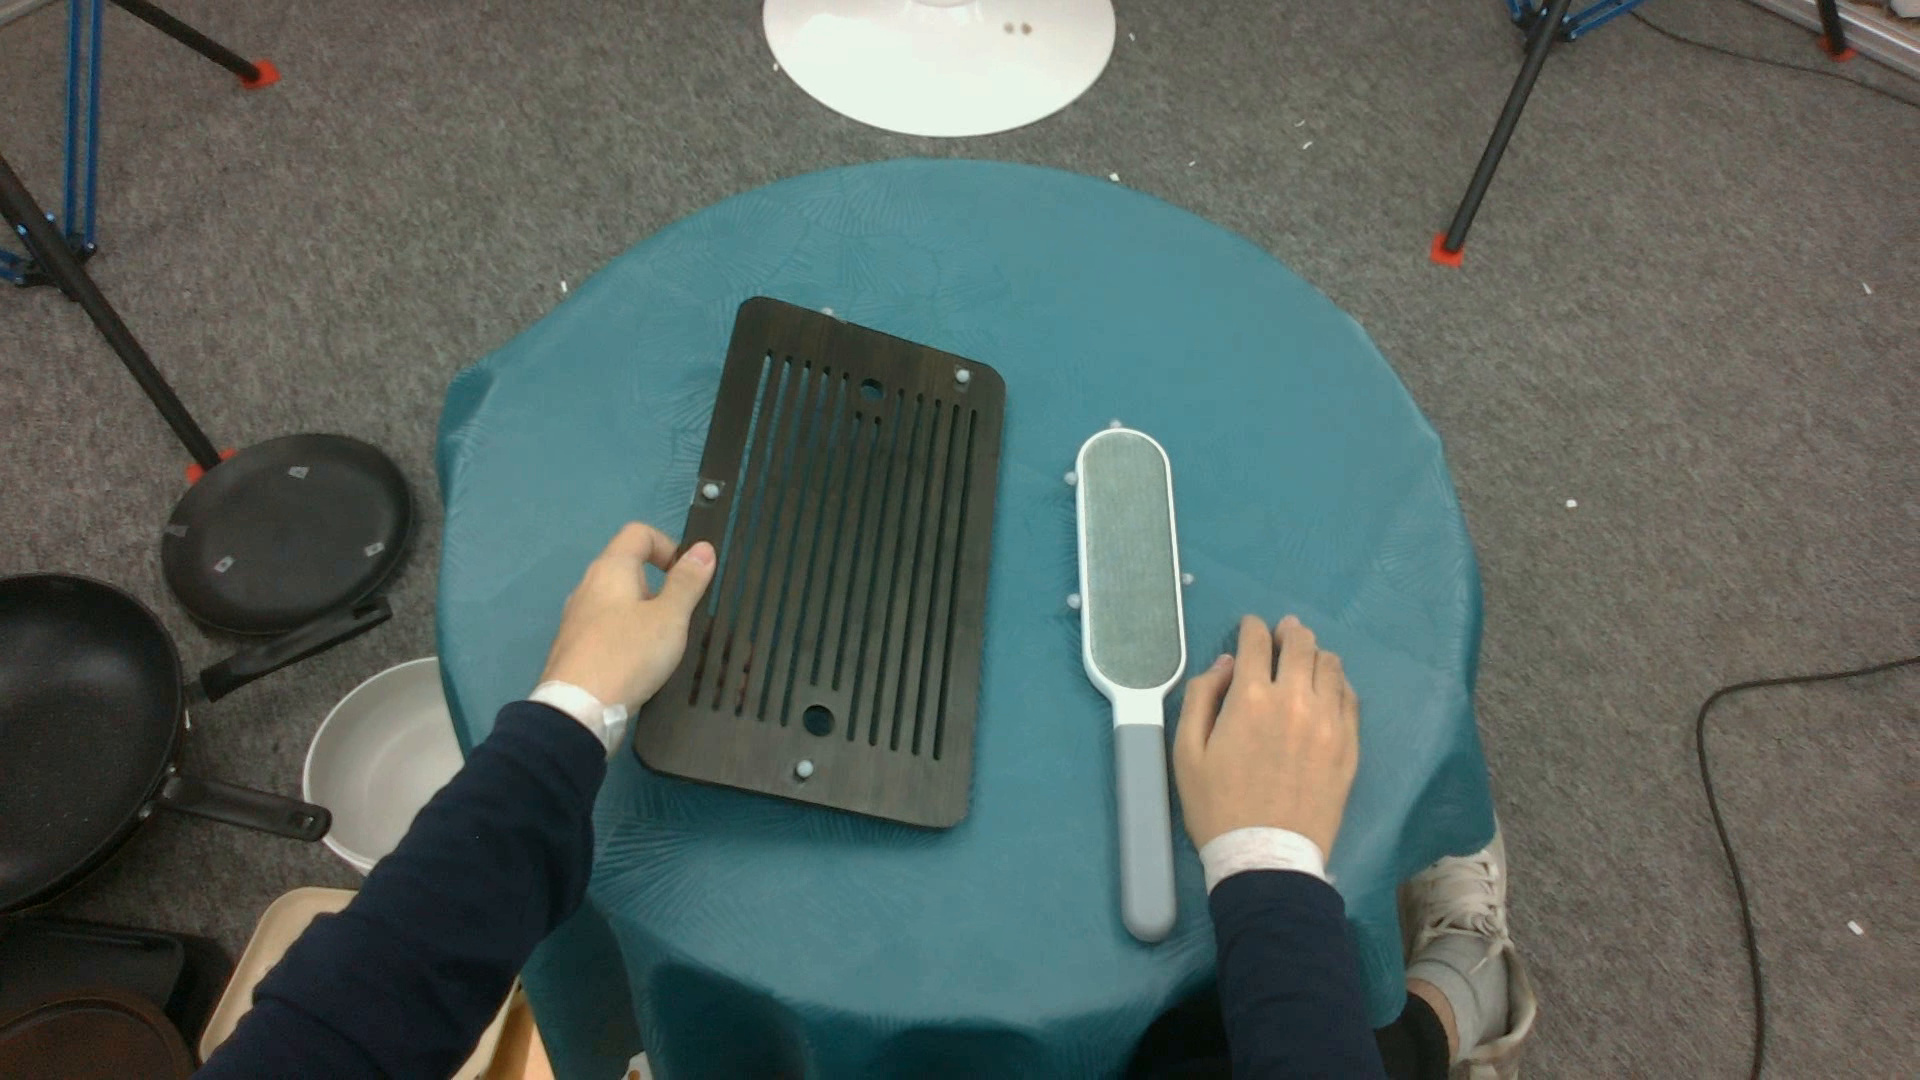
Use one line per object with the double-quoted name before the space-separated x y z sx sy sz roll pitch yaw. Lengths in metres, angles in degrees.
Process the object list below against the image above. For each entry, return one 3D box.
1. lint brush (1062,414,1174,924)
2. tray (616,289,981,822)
"lint brush" 0.087 0.056 0.752 0.060 0.021 0.310 5 57 -7
"tray" -0.077 -0.002 0.757 0.170 0.018 0.307 14 56 -14
